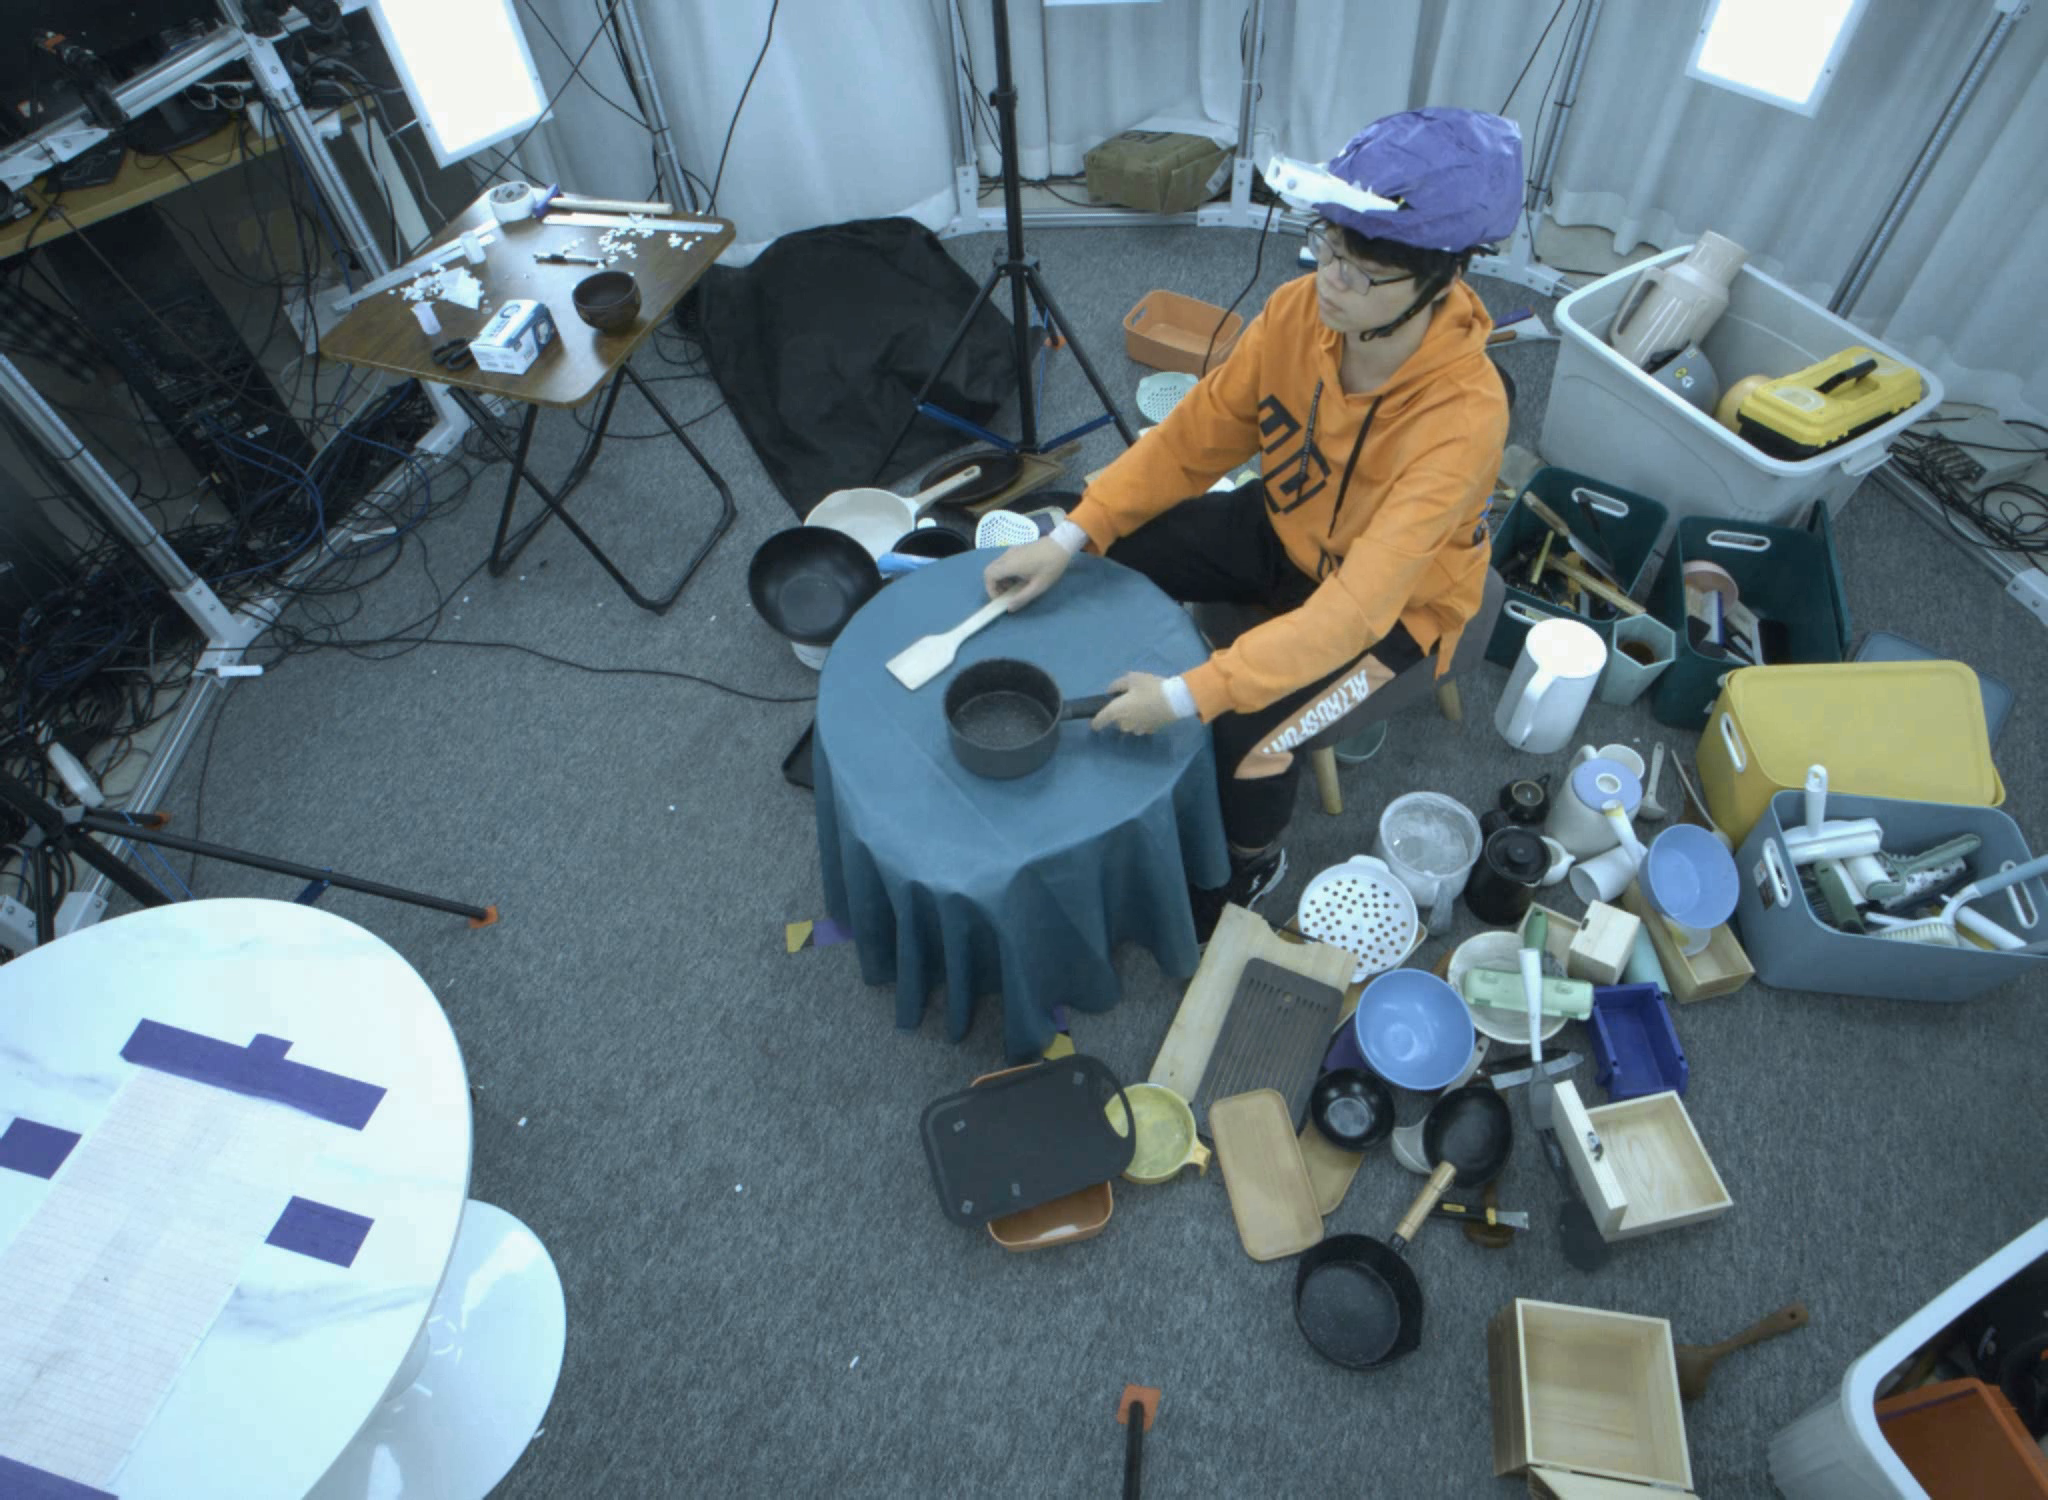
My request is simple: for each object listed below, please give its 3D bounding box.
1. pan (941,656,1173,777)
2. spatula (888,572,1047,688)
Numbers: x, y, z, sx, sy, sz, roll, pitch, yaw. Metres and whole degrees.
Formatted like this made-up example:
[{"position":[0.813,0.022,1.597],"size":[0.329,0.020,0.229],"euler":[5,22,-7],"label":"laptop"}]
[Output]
[{"position":[0.048,-0.048,1.769],"size":[0.329,0.087,0.170],"euler":[0,55,-1],"label":"pan"},{"position":[-0.081,-0.196,1.917],"size":[0.295,0.011,0.071],"euler":[-37,59,-18],"label":"spatula"}]
